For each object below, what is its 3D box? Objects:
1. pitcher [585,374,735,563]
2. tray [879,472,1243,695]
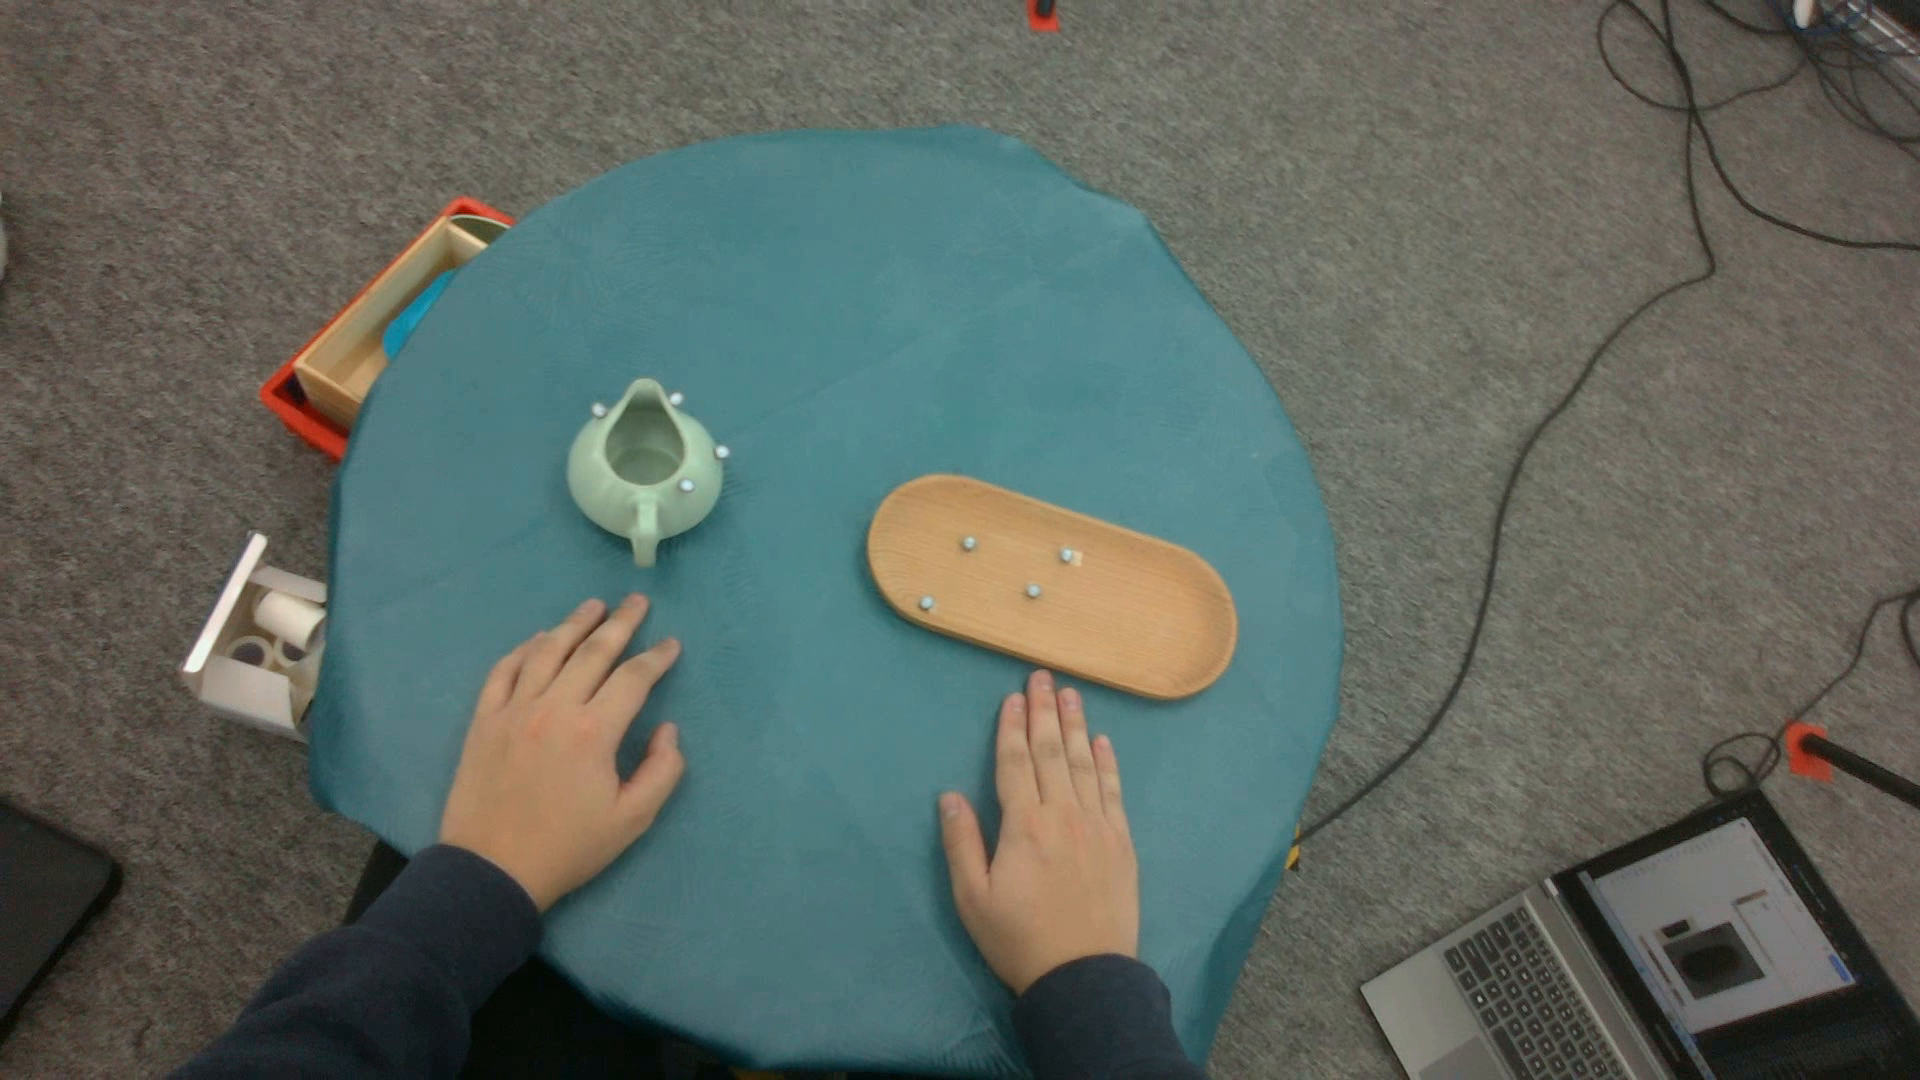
[{"bbox_3d":[-0.173,-0.036,0.797,0.086,0.060,0.108,-2,69,-11],"label":"pitcher"},{"bbox_3d":[0.062,0.026,0.841,0.231,0.020,0.102,18,66,-6],"label":"tray"}]
